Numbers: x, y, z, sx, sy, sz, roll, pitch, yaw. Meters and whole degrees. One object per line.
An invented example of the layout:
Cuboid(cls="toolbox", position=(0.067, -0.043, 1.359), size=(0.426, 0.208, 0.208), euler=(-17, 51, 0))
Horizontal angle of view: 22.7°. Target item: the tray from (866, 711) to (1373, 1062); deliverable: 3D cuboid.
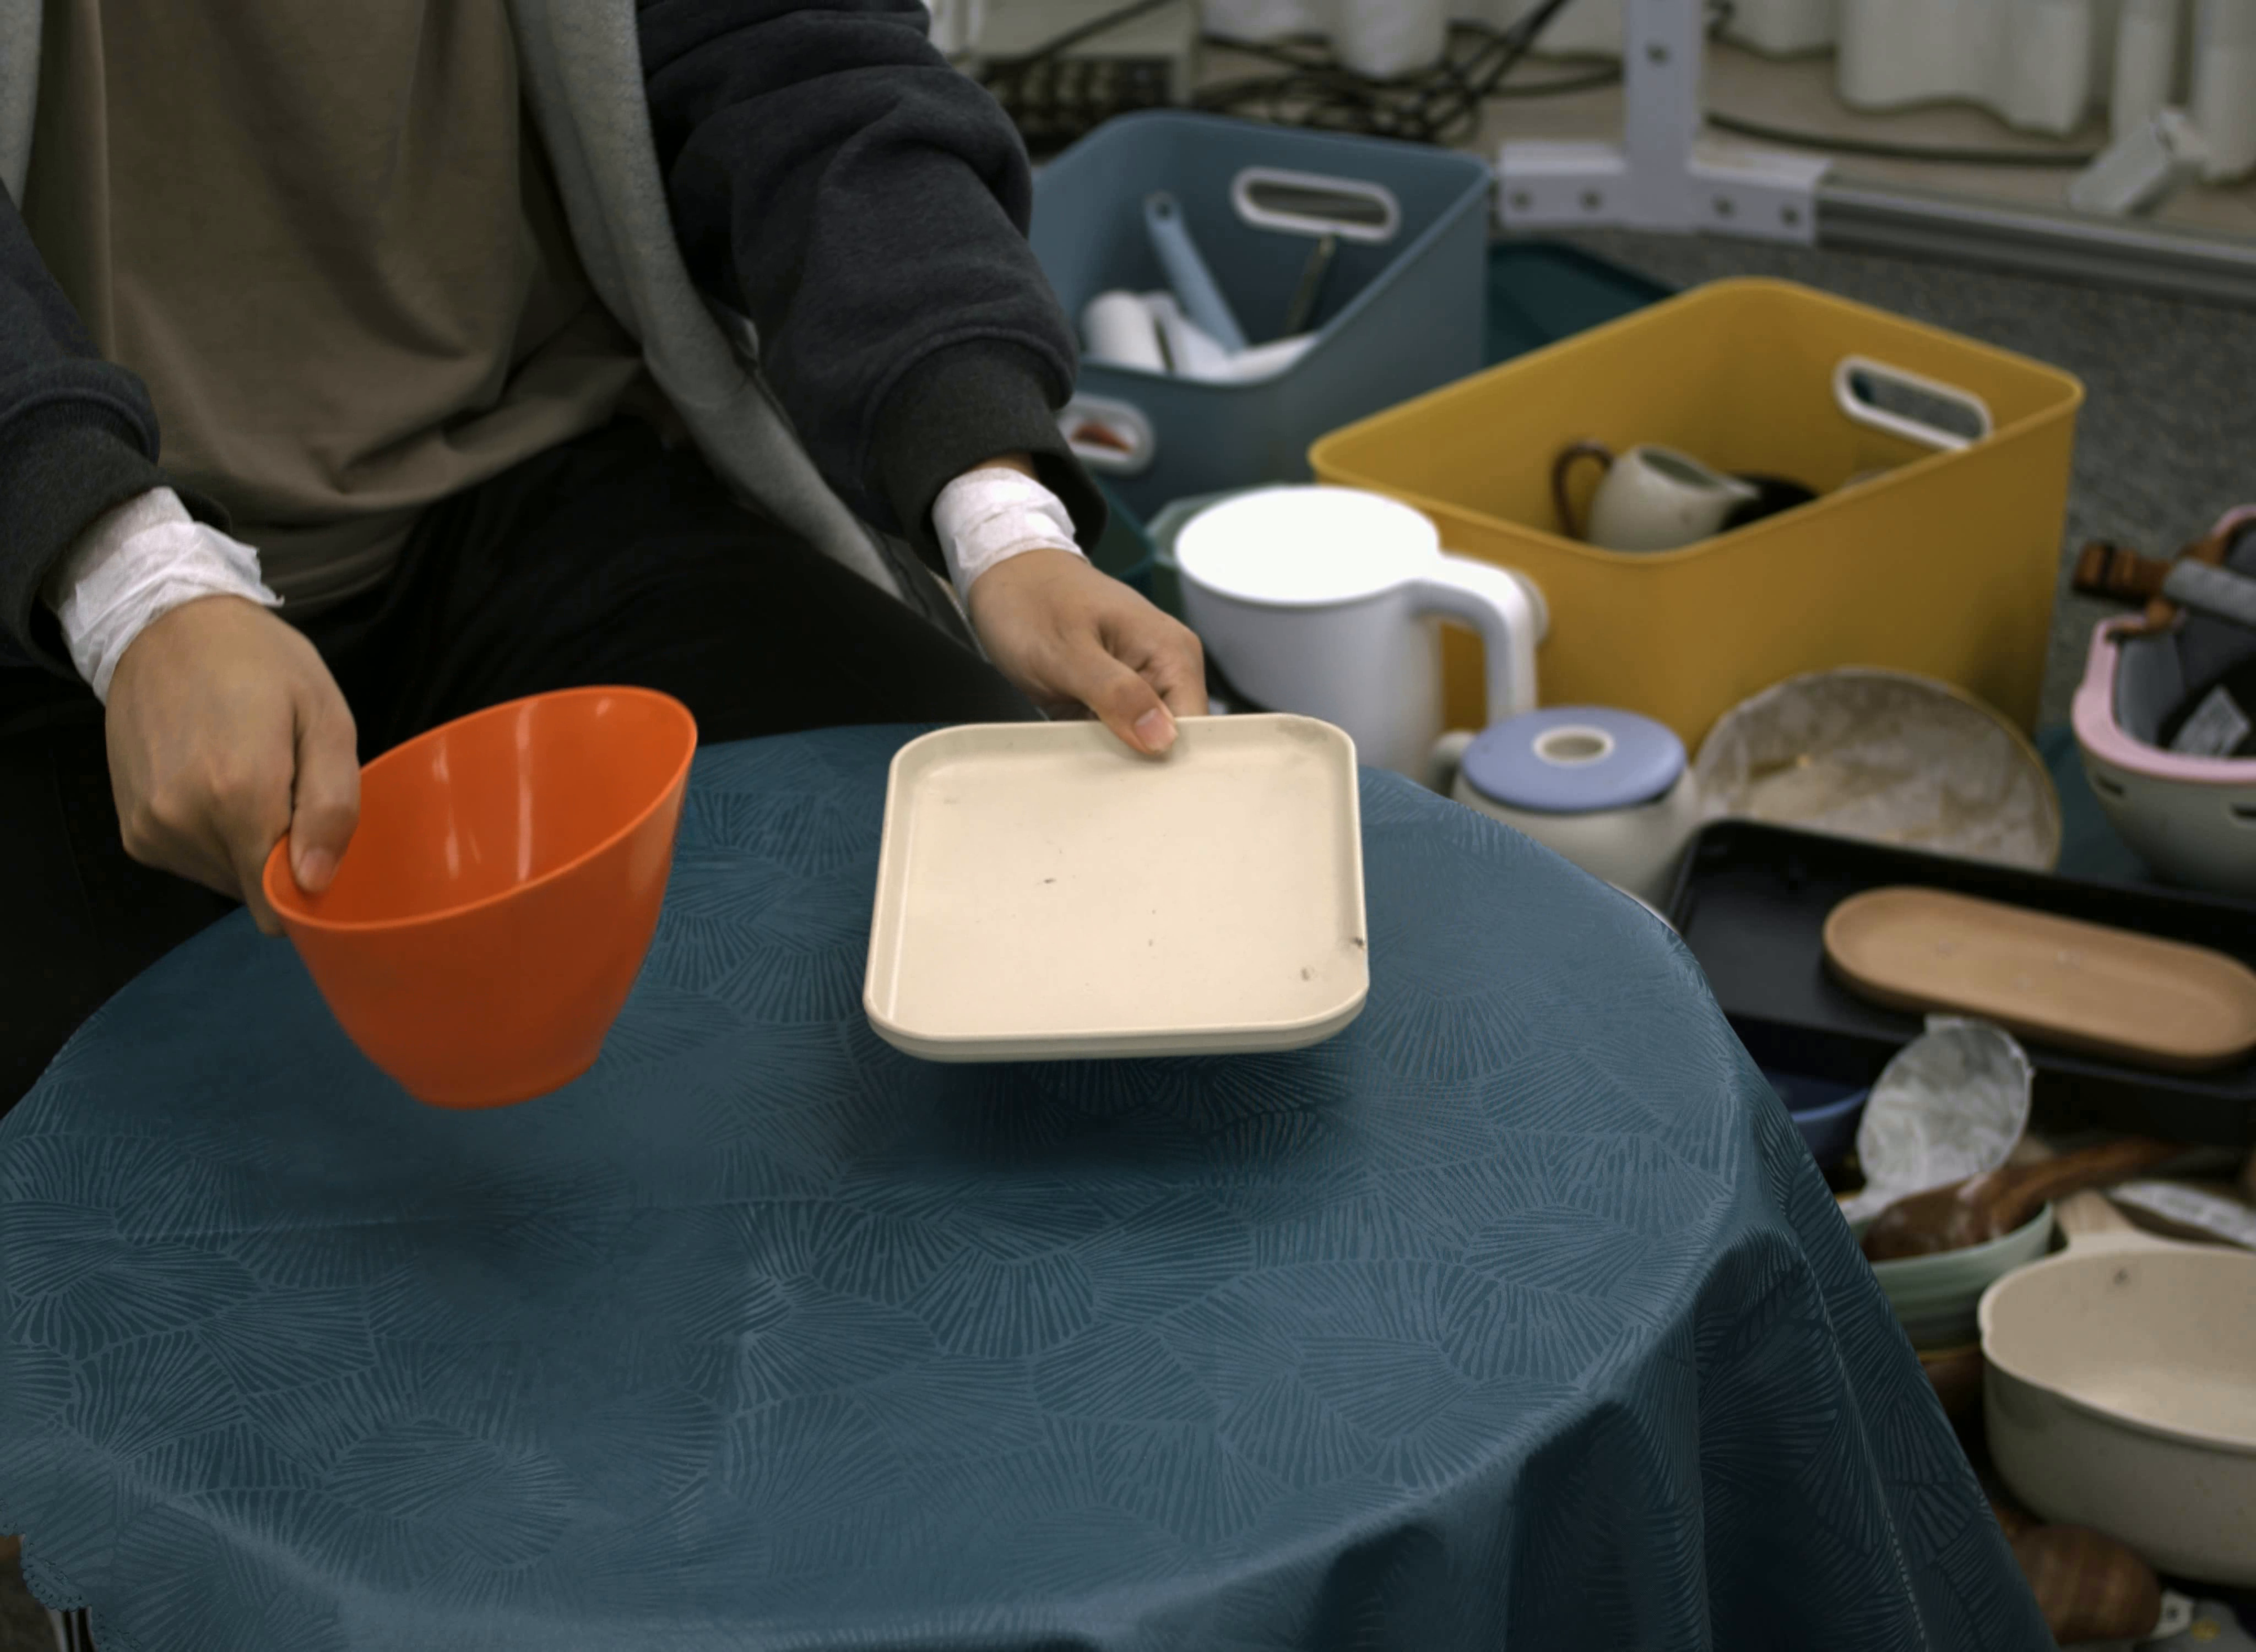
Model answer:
Cuboid(cls="tray", position=(-0.002, 0.020, 1.952), size=(0.170, 0.017, 0.243), euler=(-2, 26, 2))

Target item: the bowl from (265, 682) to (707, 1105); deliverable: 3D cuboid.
Cuboid(cls="bowl", position=(-0.202, 0.028, 1.829), size=(0.147, 0.104, 0.150), euler=(-6, 24, 3))
